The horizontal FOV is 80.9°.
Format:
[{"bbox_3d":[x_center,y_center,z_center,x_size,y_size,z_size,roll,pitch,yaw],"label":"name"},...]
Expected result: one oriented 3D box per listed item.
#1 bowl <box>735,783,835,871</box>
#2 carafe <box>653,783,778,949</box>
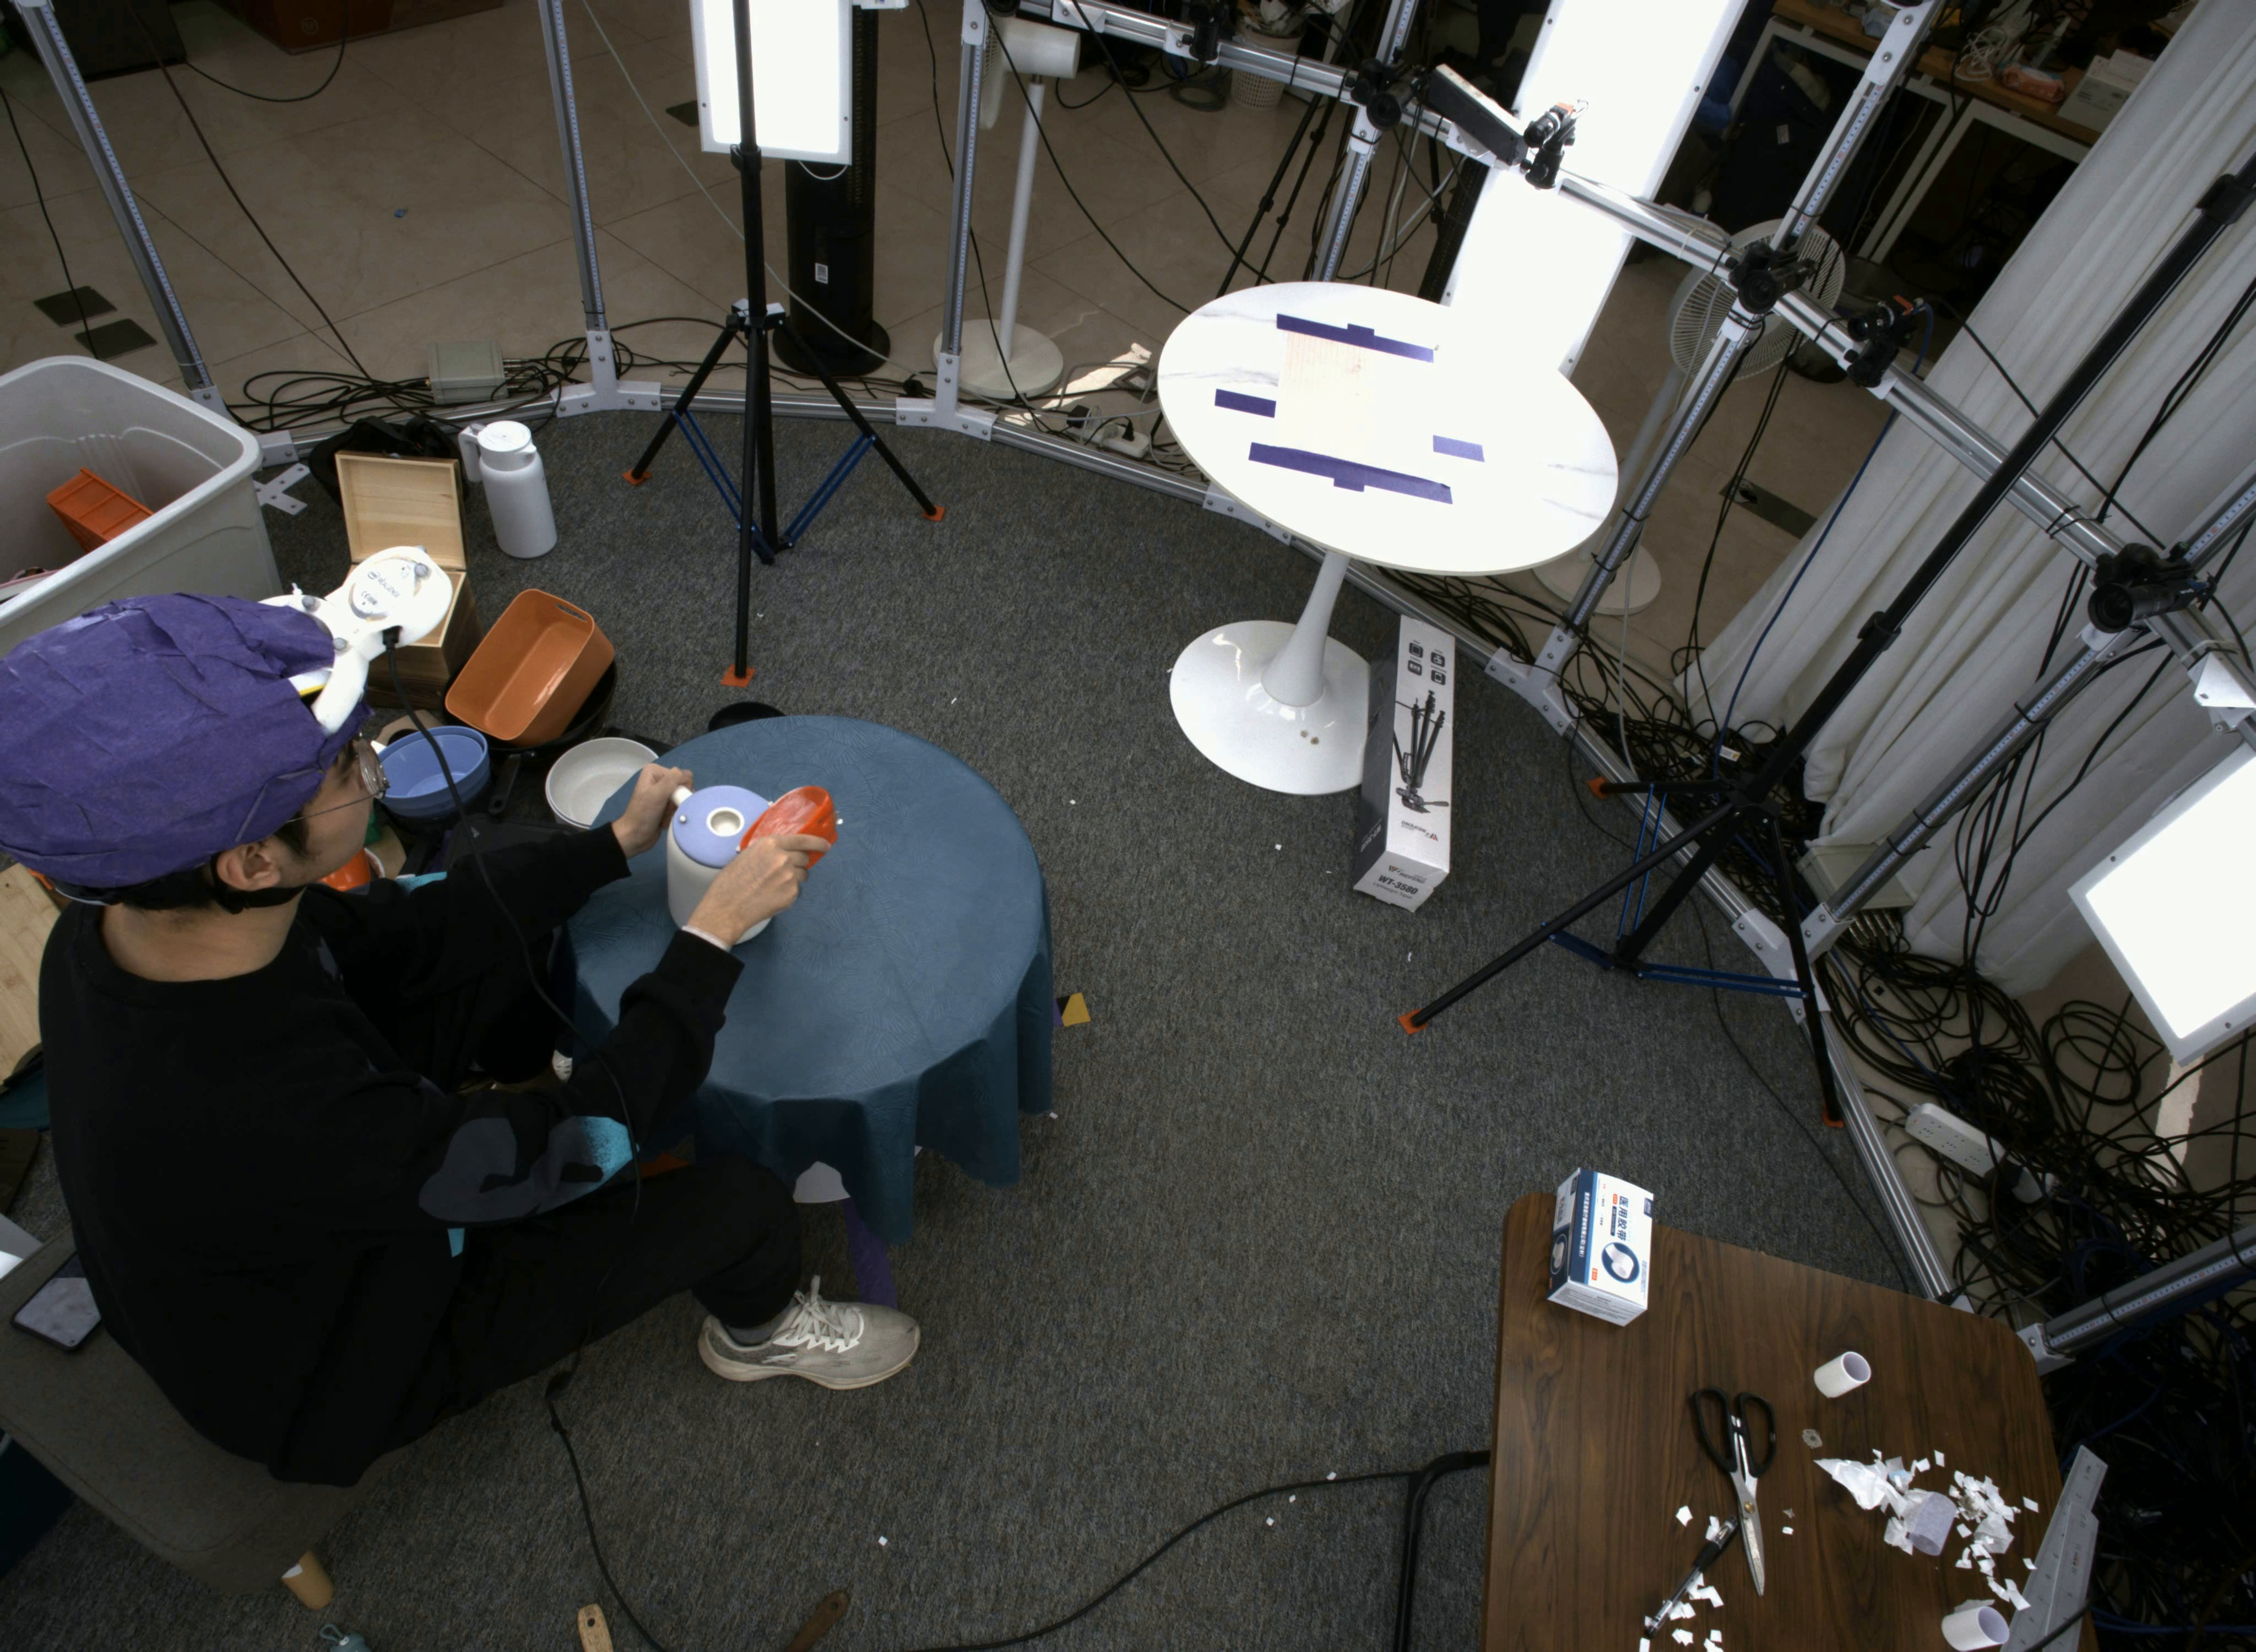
[{"bbox_3d":[-0.371,0.007,1.432,0.117,0.053,0.116,-21,33,16],"label":"bowl"},{"bbox_3d":[-0.507,0.033,1.559,0.187,0.186,0.132,37,50,14],"label":"carafe"}]
